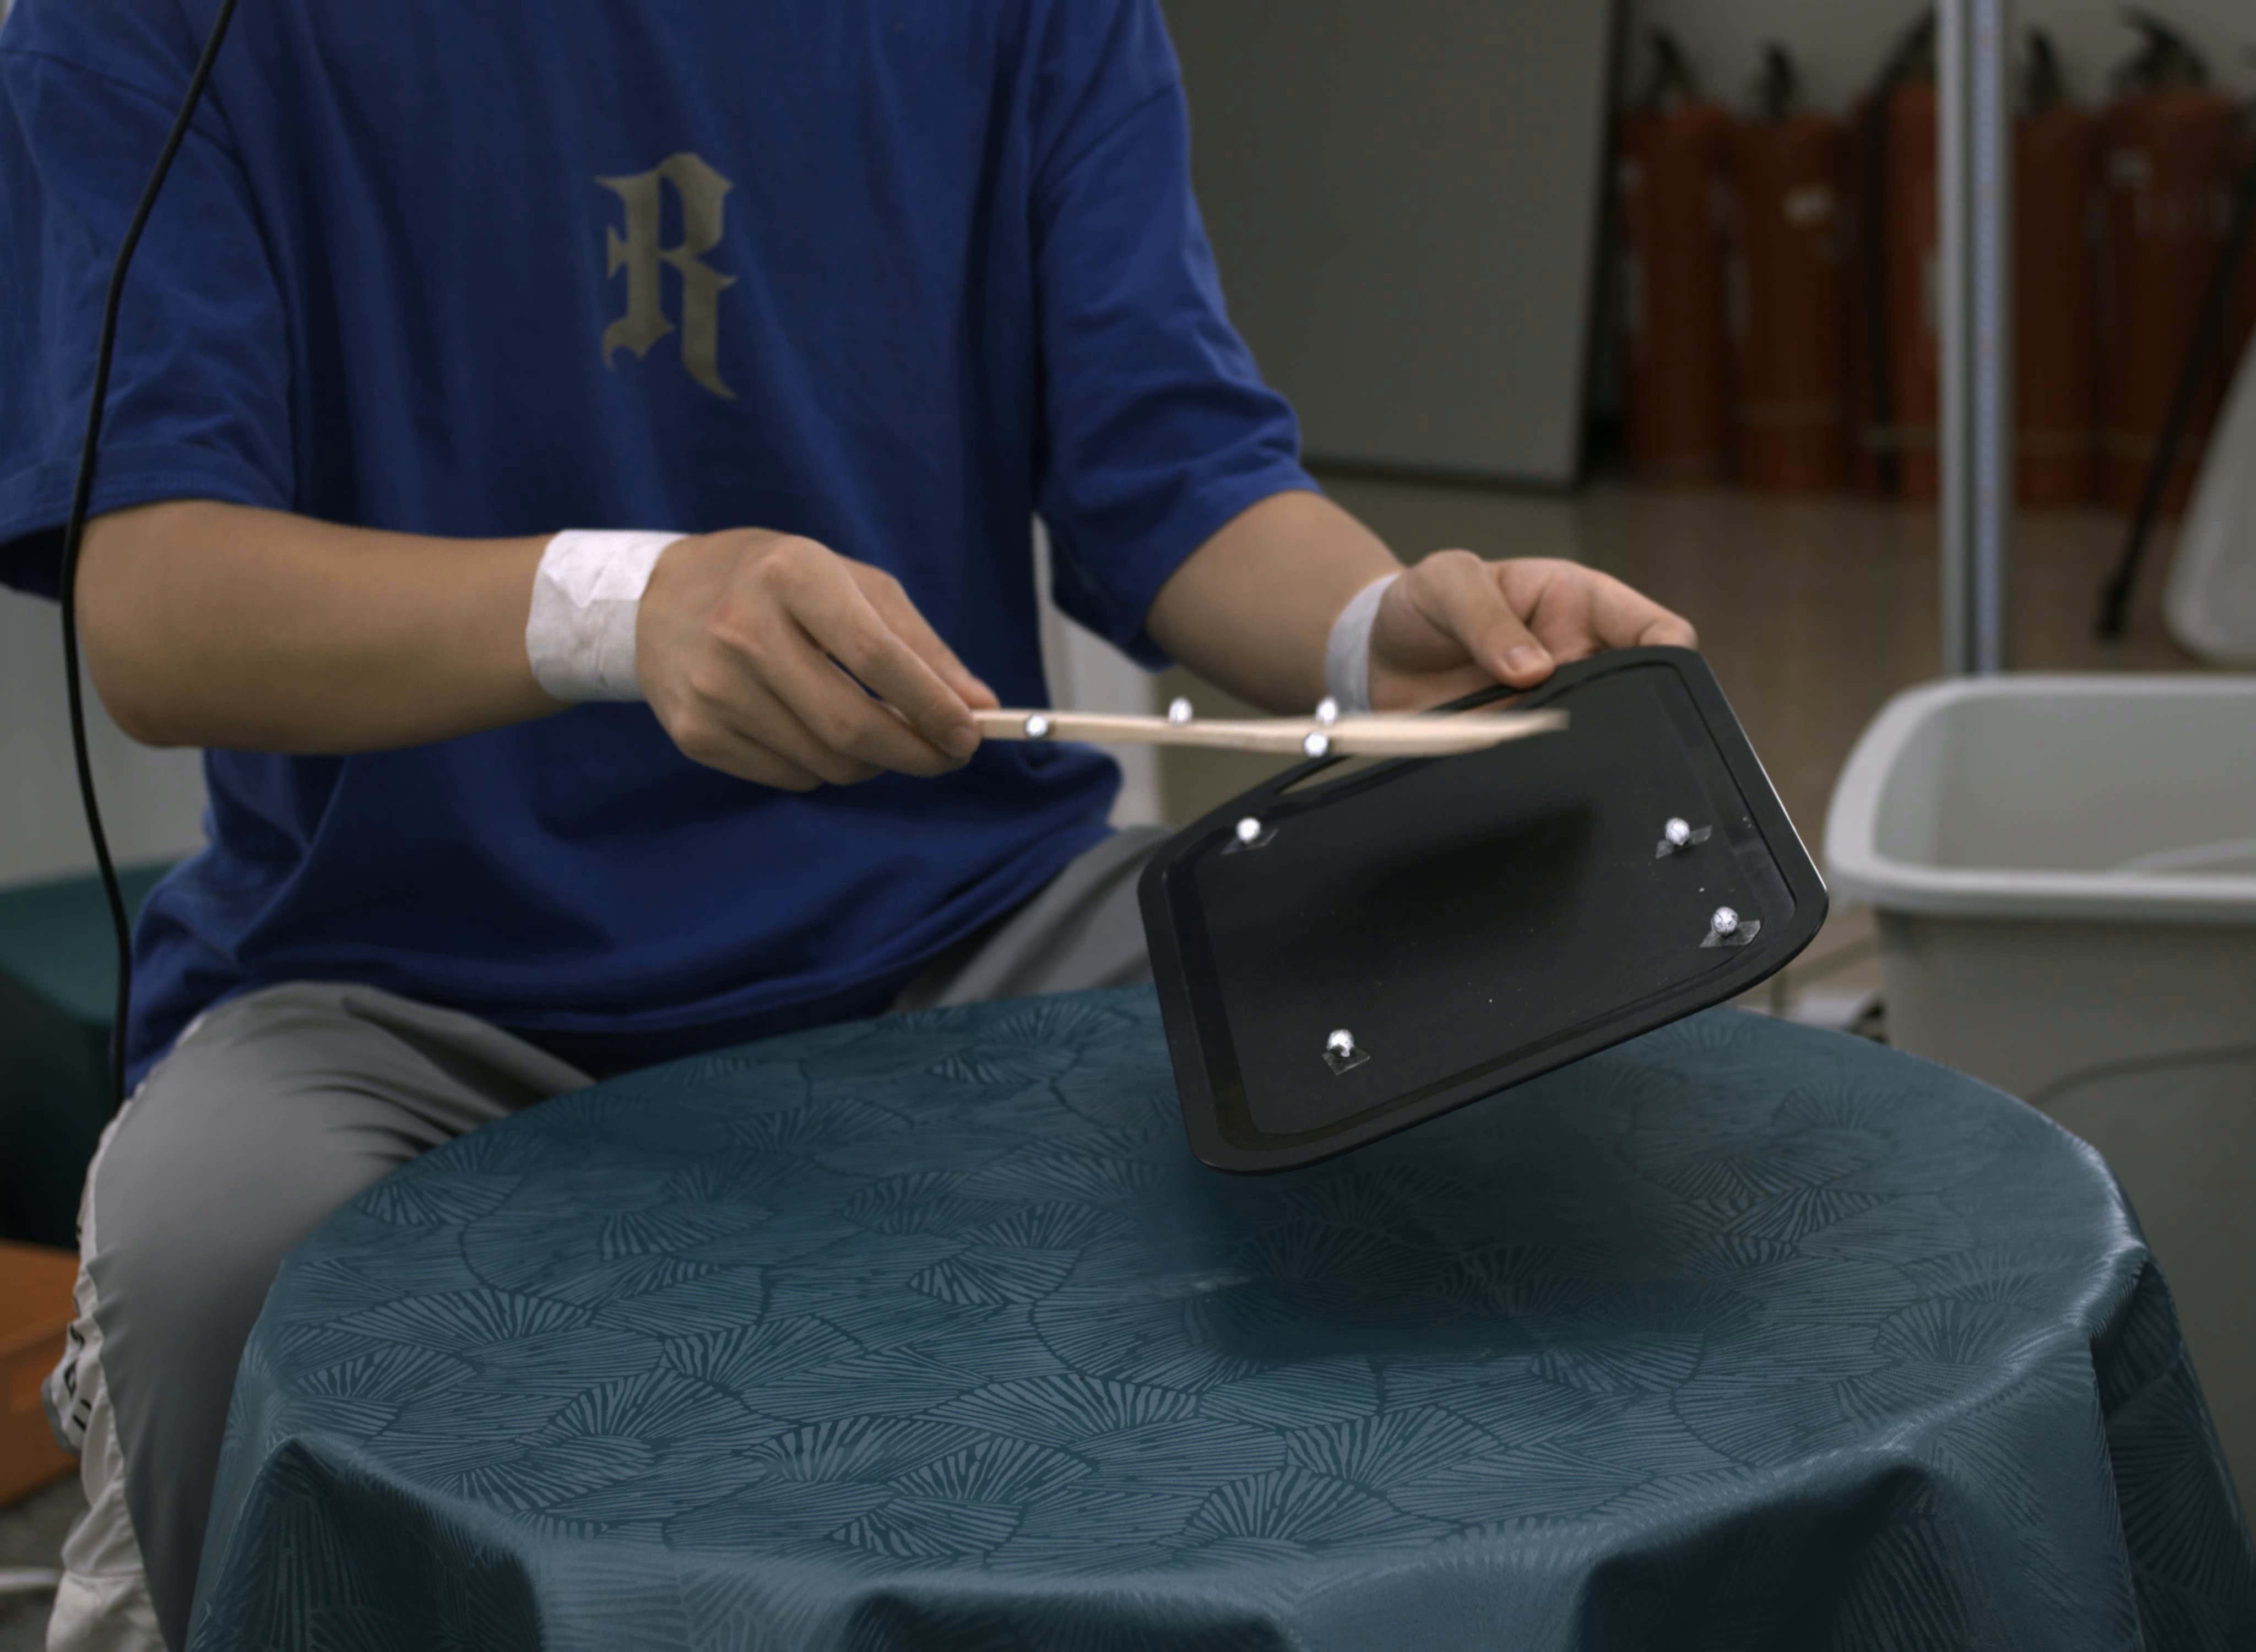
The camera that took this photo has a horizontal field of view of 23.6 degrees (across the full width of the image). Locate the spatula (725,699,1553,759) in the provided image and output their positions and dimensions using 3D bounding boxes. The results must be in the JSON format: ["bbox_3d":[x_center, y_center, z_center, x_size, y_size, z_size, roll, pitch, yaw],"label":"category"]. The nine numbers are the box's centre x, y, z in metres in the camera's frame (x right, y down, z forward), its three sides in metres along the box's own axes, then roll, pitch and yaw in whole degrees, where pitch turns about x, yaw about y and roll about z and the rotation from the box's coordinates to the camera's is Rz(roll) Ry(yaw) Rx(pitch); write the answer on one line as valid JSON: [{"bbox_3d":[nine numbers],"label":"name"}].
[{"bbox_3d":[-0.005,-0.031,1.788,0.293,0.011,0.071,3,4,26],"label":"spatula"}]

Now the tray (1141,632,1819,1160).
[{"bbox_3d":[0.104,0.014,1.737,0.210,0.010,0.326,-23,20,6],"label":"tray"}]
